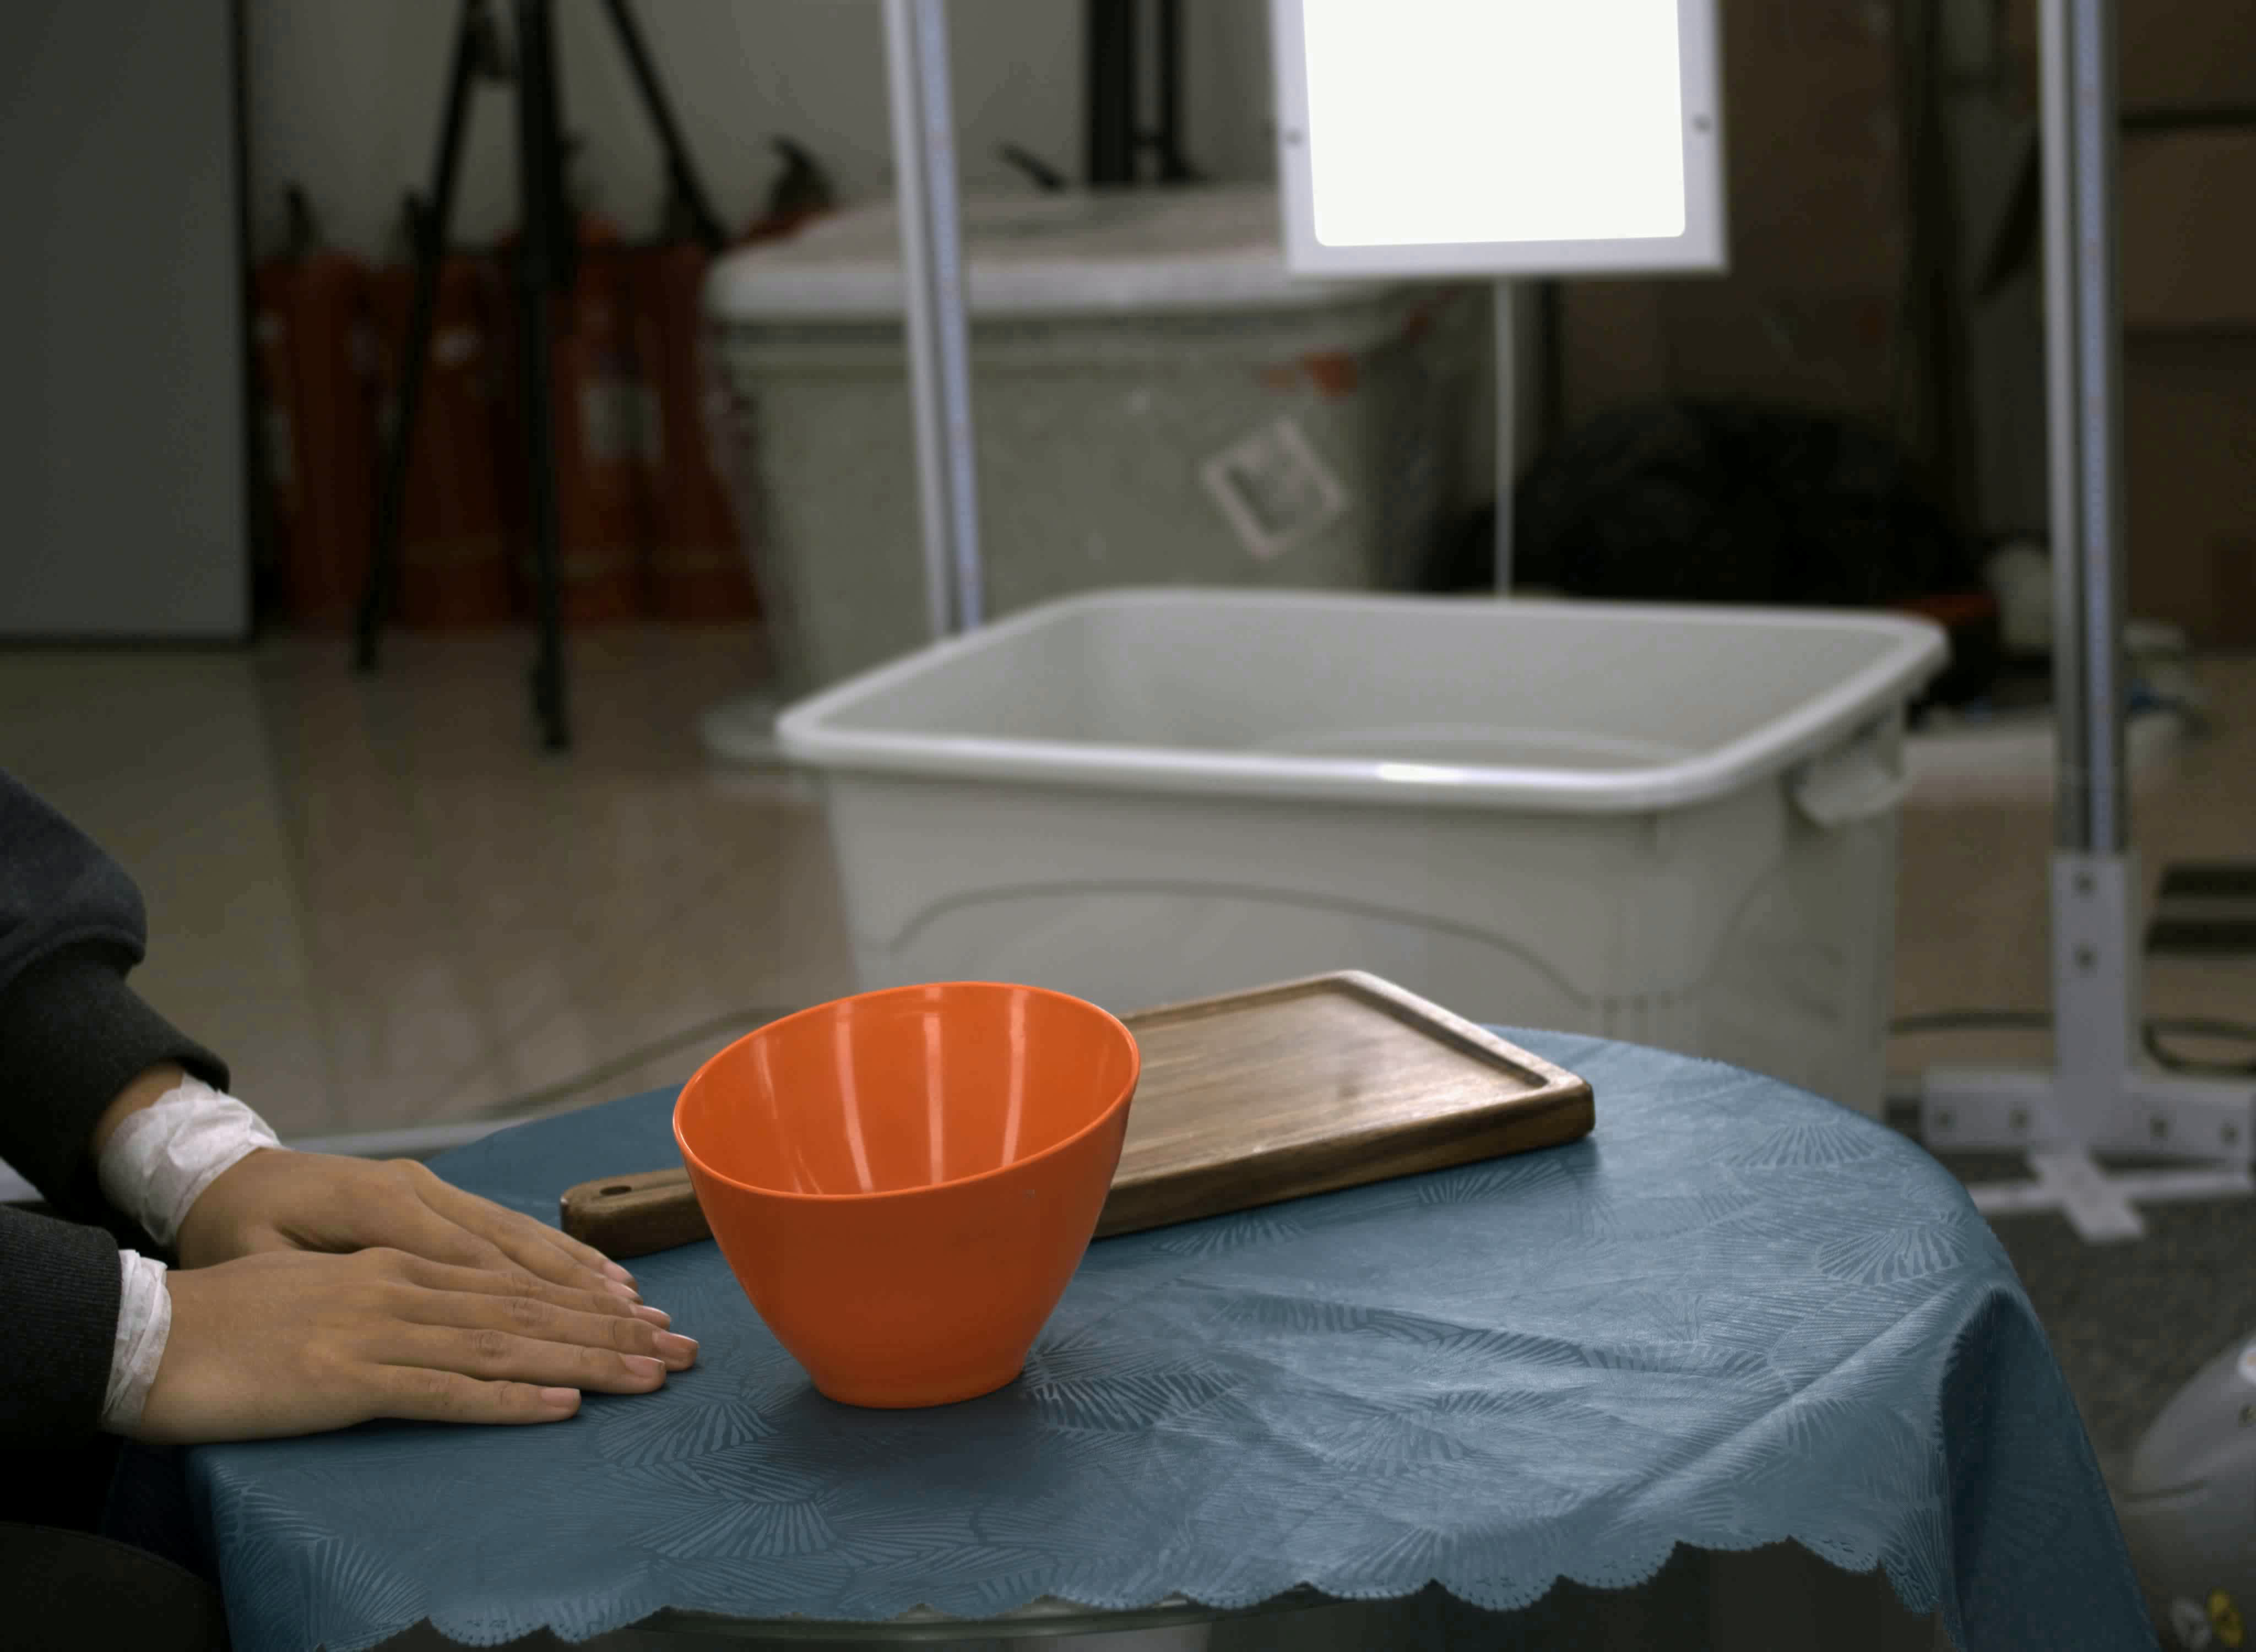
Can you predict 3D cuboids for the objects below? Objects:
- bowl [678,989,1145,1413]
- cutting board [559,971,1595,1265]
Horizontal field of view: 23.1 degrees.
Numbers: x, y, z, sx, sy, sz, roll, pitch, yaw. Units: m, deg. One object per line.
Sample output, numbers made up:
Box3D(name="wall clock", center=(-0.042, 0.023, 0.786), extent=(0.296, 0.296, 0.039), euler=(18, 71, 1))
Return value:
Box3D(name="bowl", center=(-0.065, 0.121, 1.731), extent=(0.147, 0.105, 0.148), euler=(-4, 14, 0))
Box3D(name="cutting board", center=(-0.033, 0.109, 1.940), extent=(0.346, 0.023, 0.204), euler=(-11, 15, -20))
